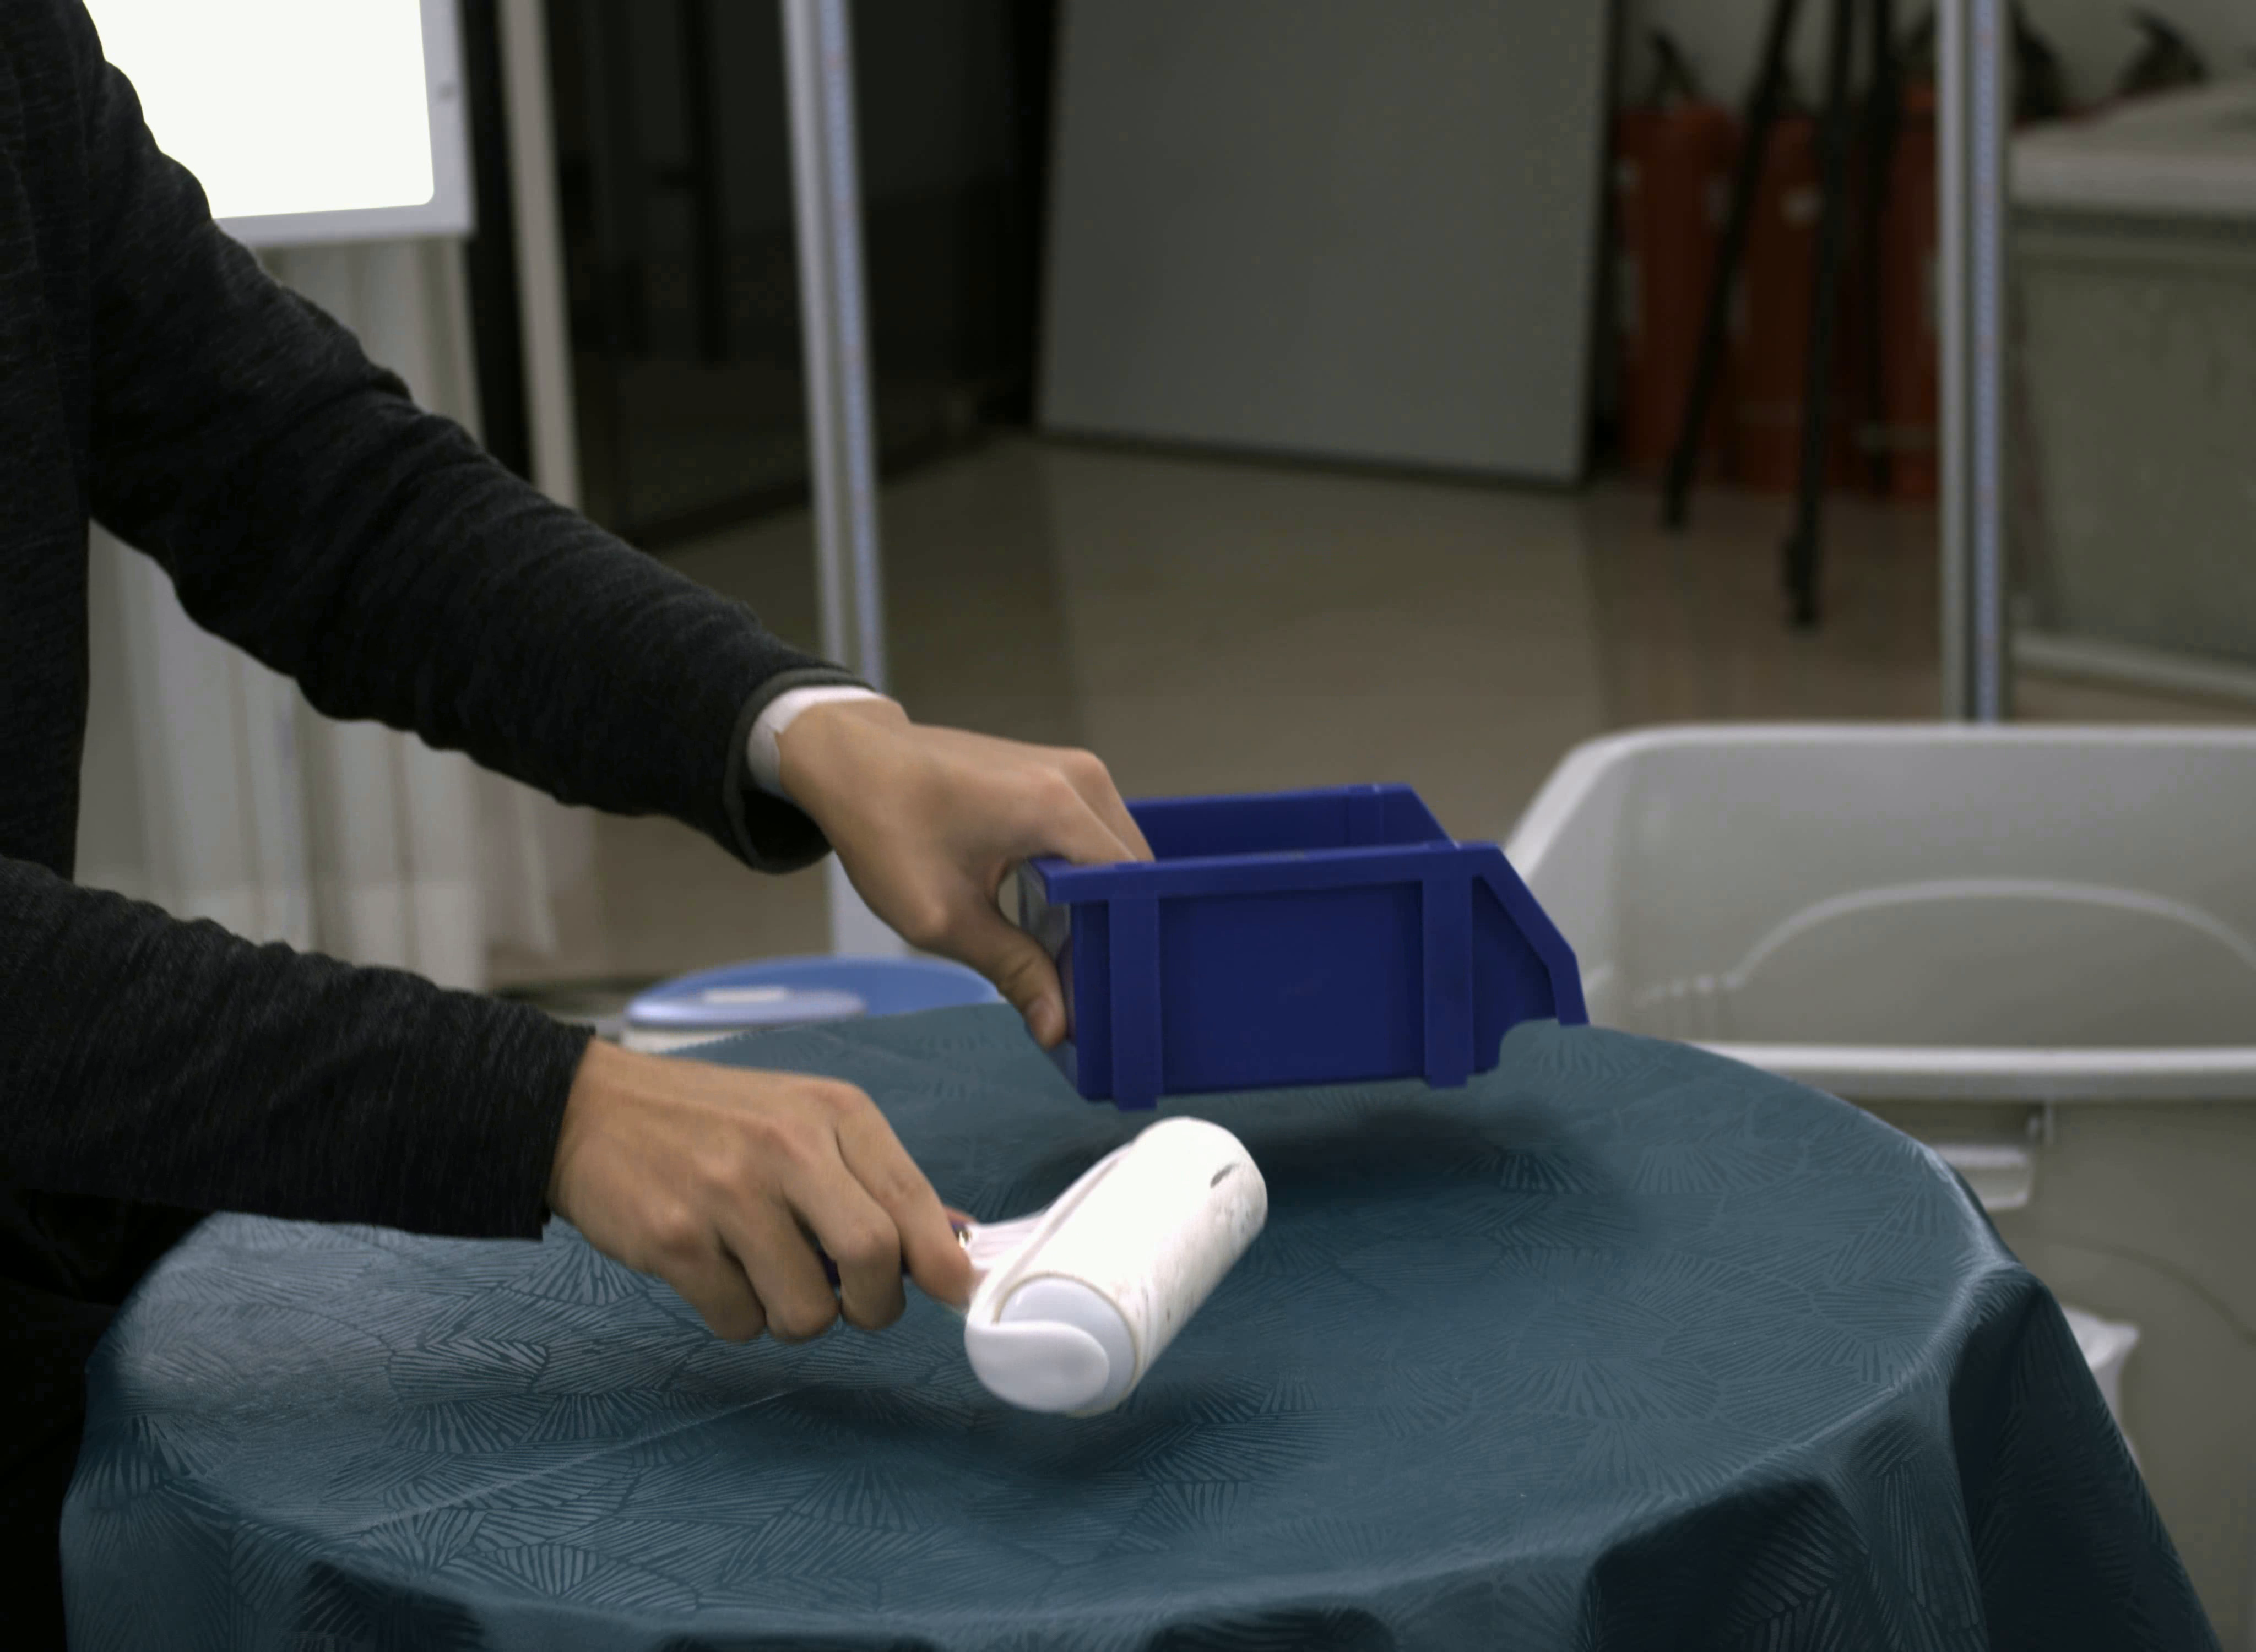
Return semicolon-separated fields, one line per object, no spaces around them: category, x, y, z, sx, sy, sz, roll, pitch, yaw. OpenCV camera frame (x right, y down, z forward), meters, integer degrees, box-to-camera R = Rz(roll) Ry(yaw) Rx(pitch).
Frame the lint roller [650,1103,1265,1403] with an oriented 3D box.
lint roller;-0.058;0.113;1.570;0.181;0.050;0.131;9;27;23

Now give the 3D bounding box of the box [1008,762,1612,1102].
box;0.059;0.032;1.783;0.176;0.083;0.125;-6;10;-8
